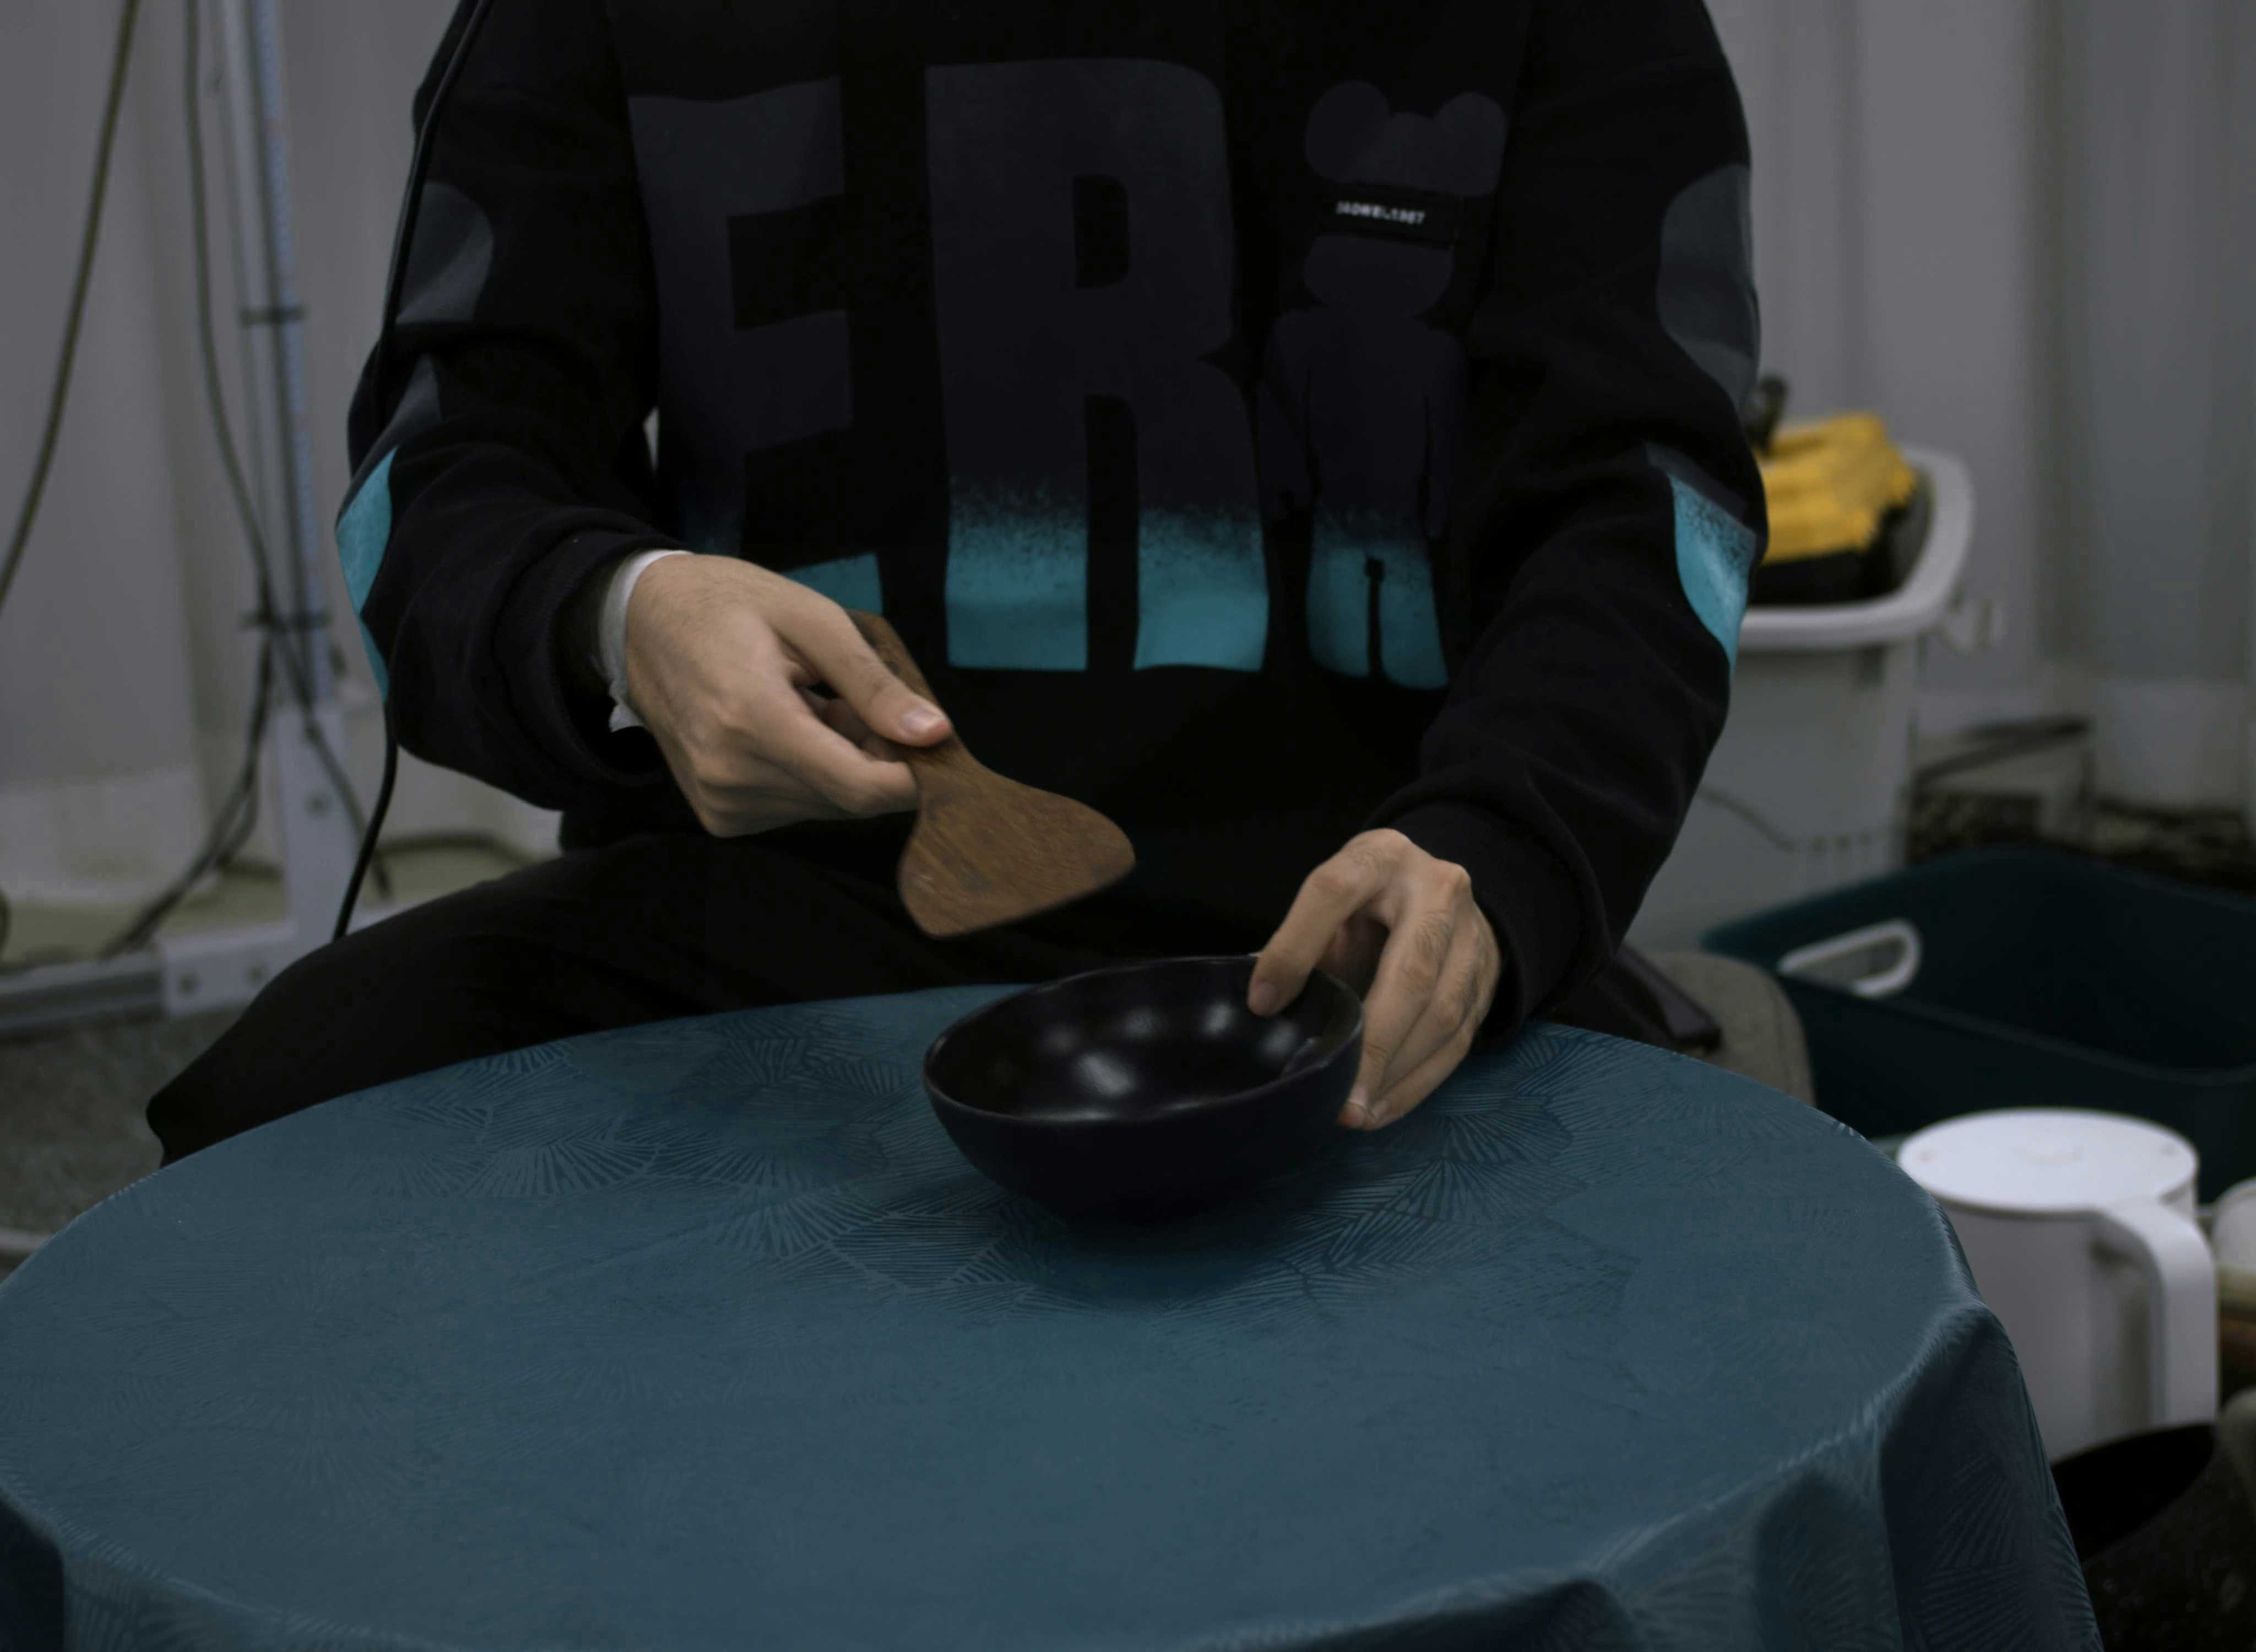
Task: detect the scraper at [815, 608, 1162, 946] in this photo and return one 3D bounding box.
[{"bbox_3d":[-0.057,-0.019,1.758,0.075,0.011,0.214,-18,34,-13],"label":"scraper"}]

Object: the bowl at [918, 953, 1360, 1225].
[{"bbox_3d":[0.007,0.087,1.694,0.139,0.049,0.141,-10,17,3],"label":"bowl"}]
